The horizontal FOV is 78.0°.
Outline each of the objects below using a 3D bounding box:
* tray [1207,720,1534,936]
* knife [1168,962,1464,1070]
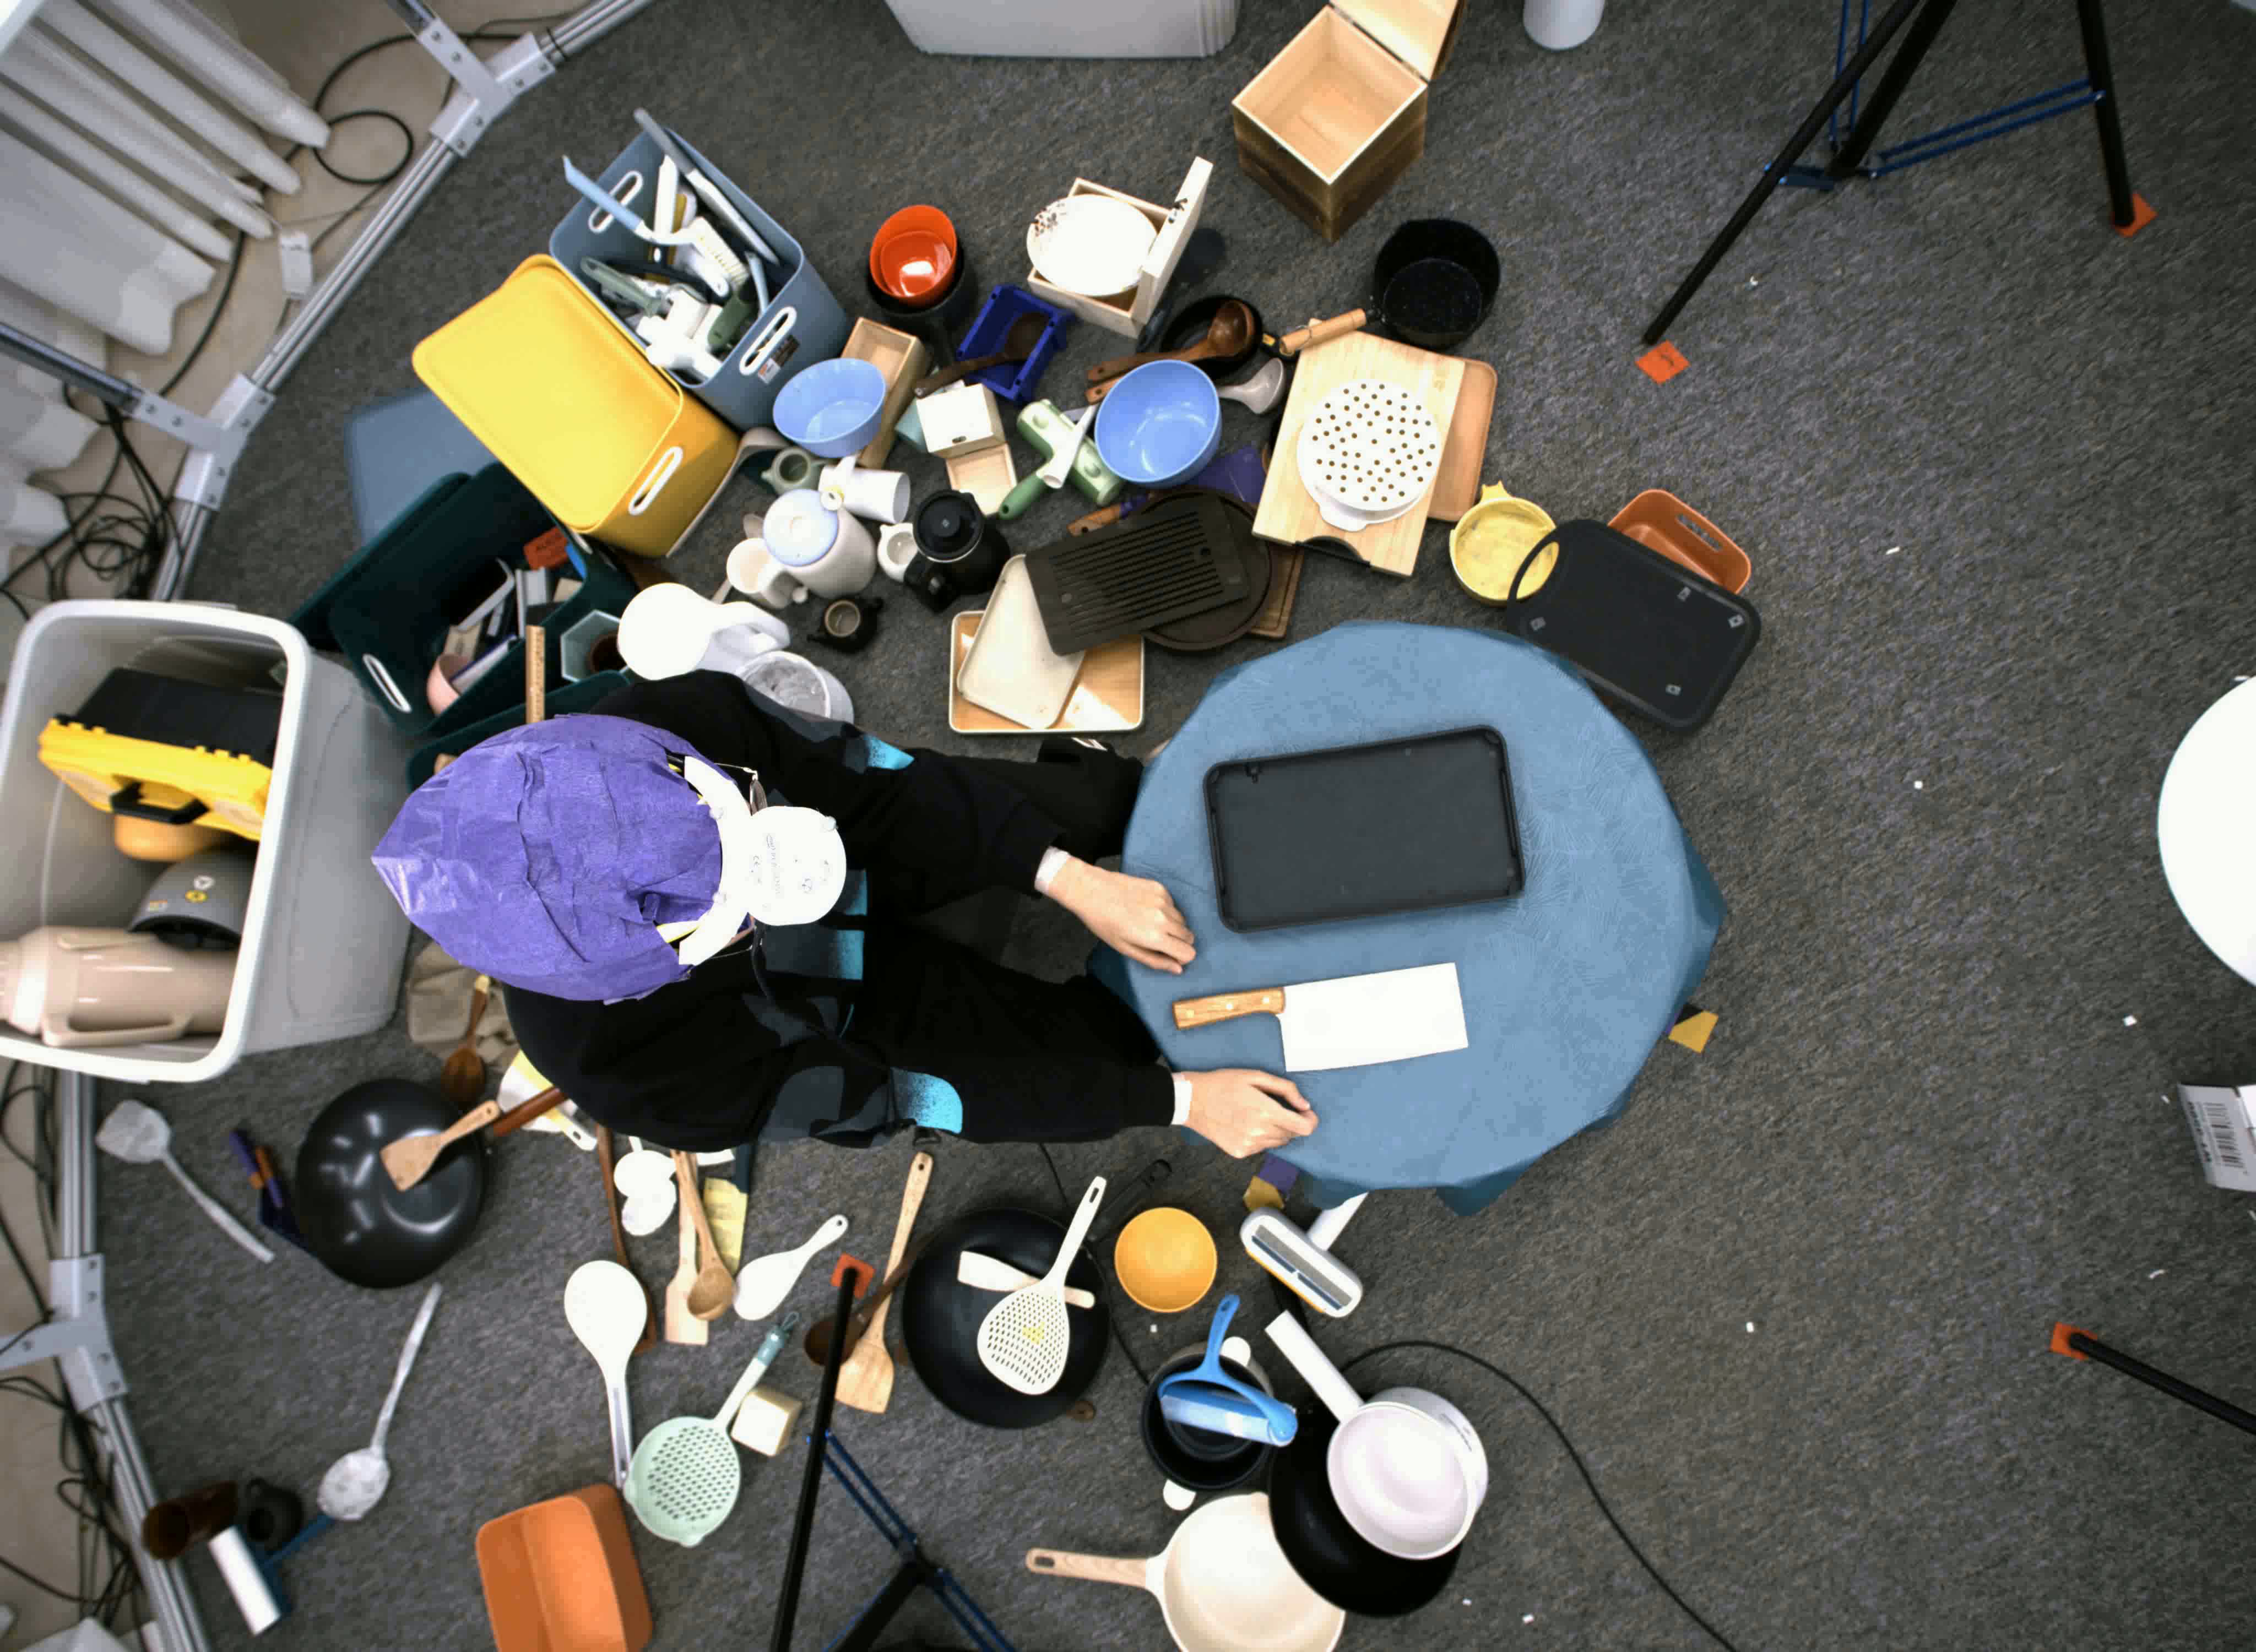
[{"bbox_3d":[0.251,0.003,1.449,0.319,0.037,0.183,-10,85,10],"label":"tray"},{"bbox_3d":[0.198,0.206,1.458,0.307,0.021,0.092,-9,87,8],"label":"knife"}]
